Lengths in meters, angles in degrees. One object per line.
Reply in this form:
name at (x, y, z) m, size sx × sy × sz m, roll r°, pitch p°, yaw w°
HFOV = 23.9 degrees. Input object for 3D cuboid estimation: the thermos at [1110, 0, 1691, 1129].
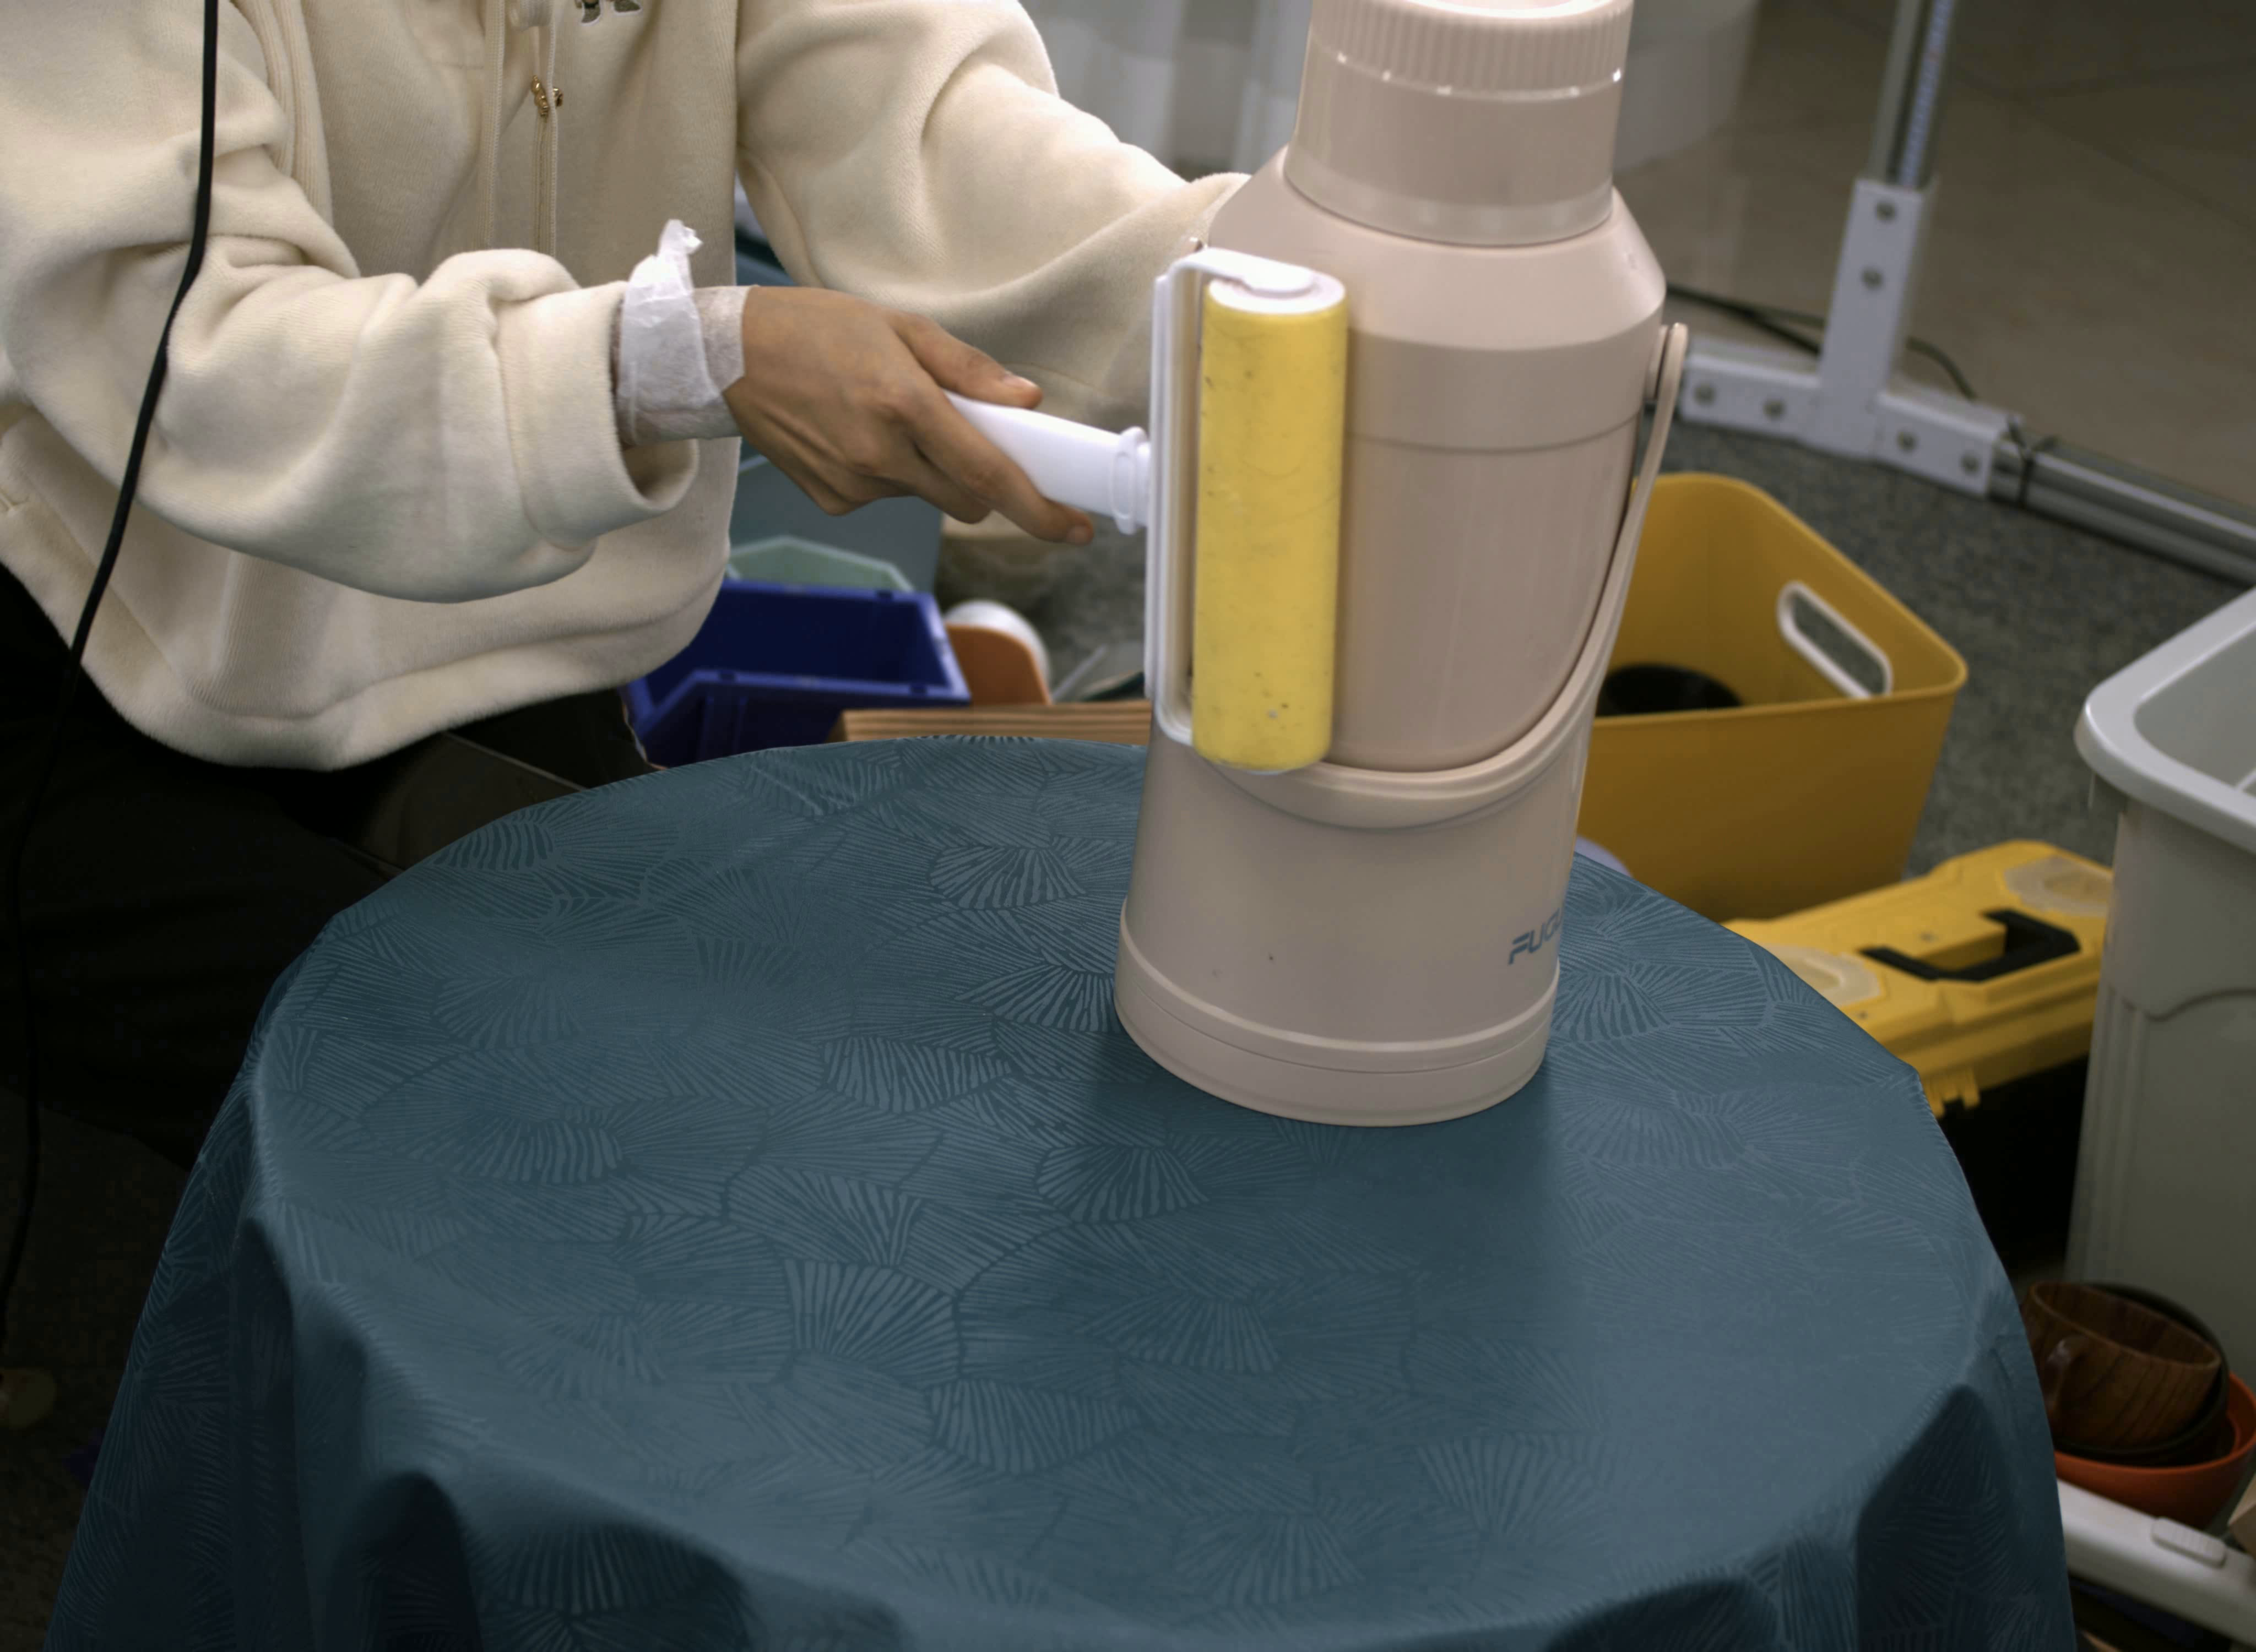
thermos at (0.098, -0.111, 1.849) m, size 0.175 × 0.405 × 0.207 m, roll 10°, pitch 26°, yaw 8°

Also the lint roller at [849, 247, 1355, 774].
lint roller at (-0.015, -0.114, 1.775) m, size 0.192 × 0.174 × 0.051 m, roll 10°, pitch 25°, yaw 23°
